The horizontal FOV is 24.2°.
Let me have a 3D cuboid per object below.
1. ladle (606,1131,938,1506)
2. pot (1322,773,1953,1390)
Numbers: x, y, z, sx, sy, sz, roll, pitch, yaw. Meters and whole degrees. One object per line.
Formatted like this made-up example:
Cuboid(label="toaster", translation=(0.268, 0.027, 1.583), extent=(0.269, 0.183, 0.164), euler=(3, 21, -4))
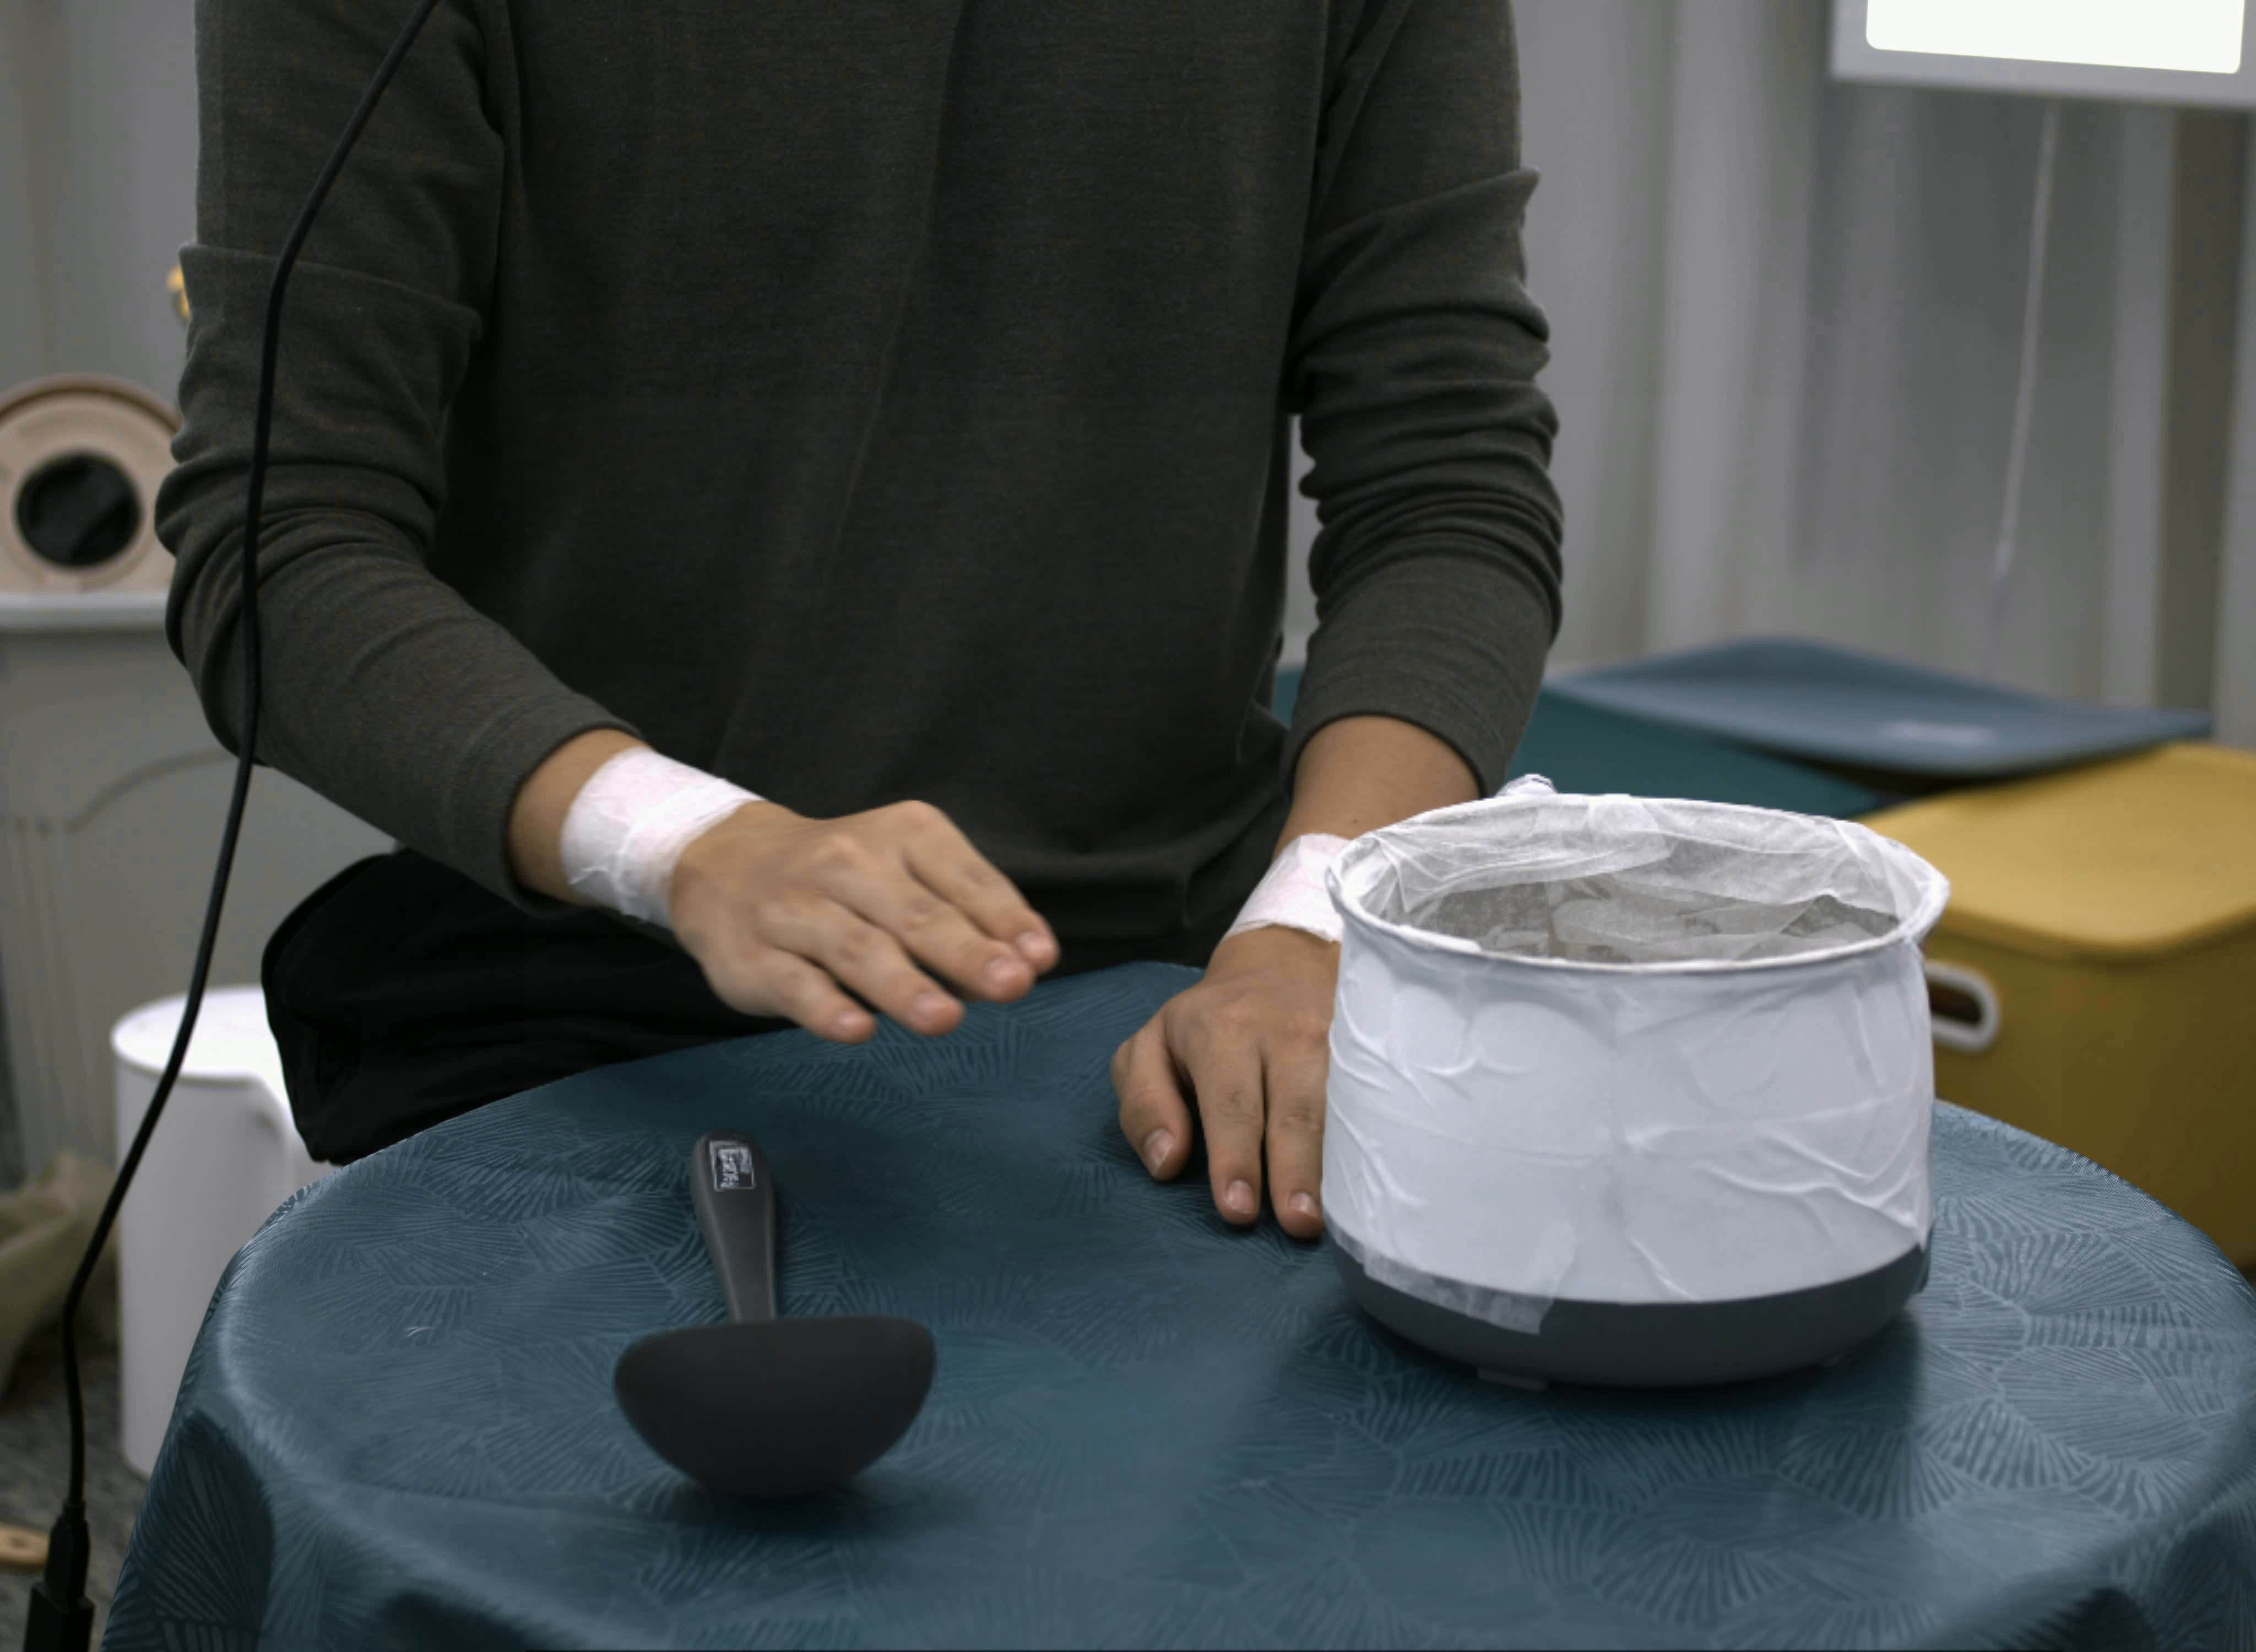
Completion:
Cuboid(label="ladle", translation=(-0.108, 0.117, 1.485), extent=(0.086, 0.064, 0.311), euler=(1, 15, -8))
Cuboid(label="pot", translation=(0.137, 0.068, 1.532), extent=(0.179, 0.138, 0.231), euler=(-3, 16, -14))
